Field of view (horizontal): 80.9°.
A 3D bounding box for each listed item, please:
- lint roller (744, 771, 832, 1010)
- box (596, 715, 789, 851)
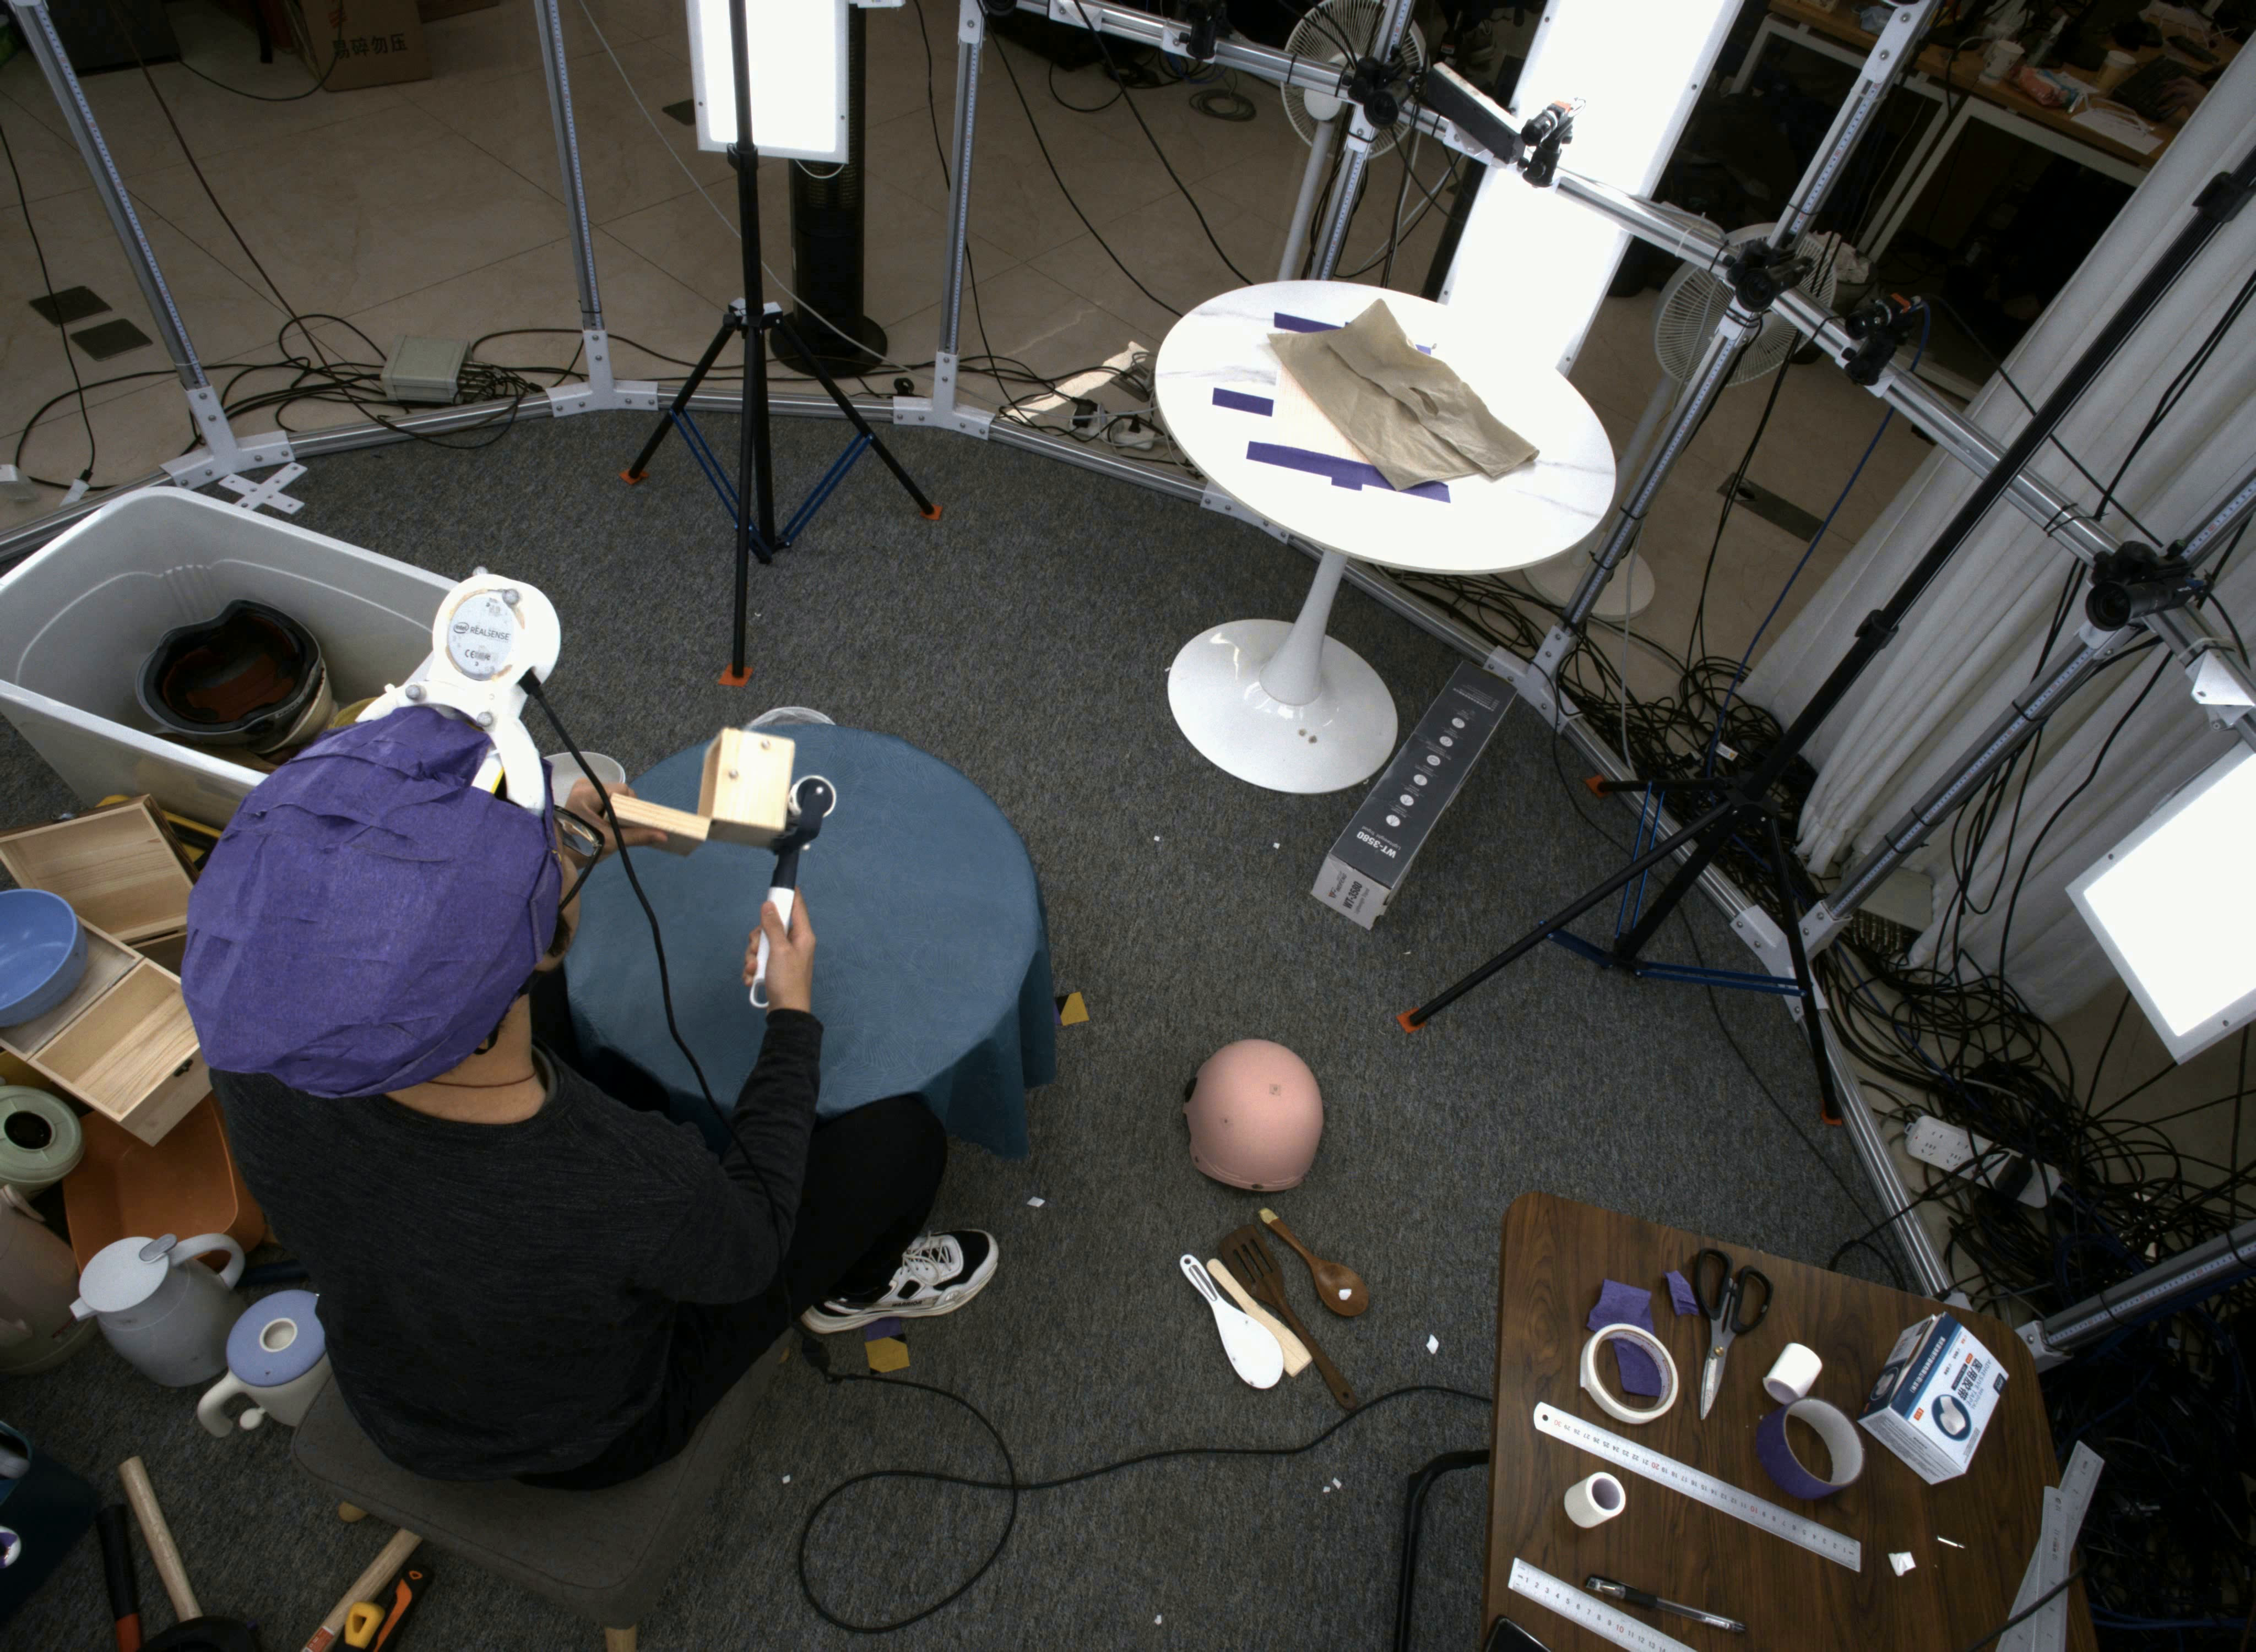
[{"bbox_3d":[-0.380,0.075,1.415,0.051,0.173,0.248,10,79,-26],"label":"lint roller"},{"bbox_3d":[-0.468,-0.050,1.372,0.187,0.101,0.134,9,74,-28],"label":"box"}]
